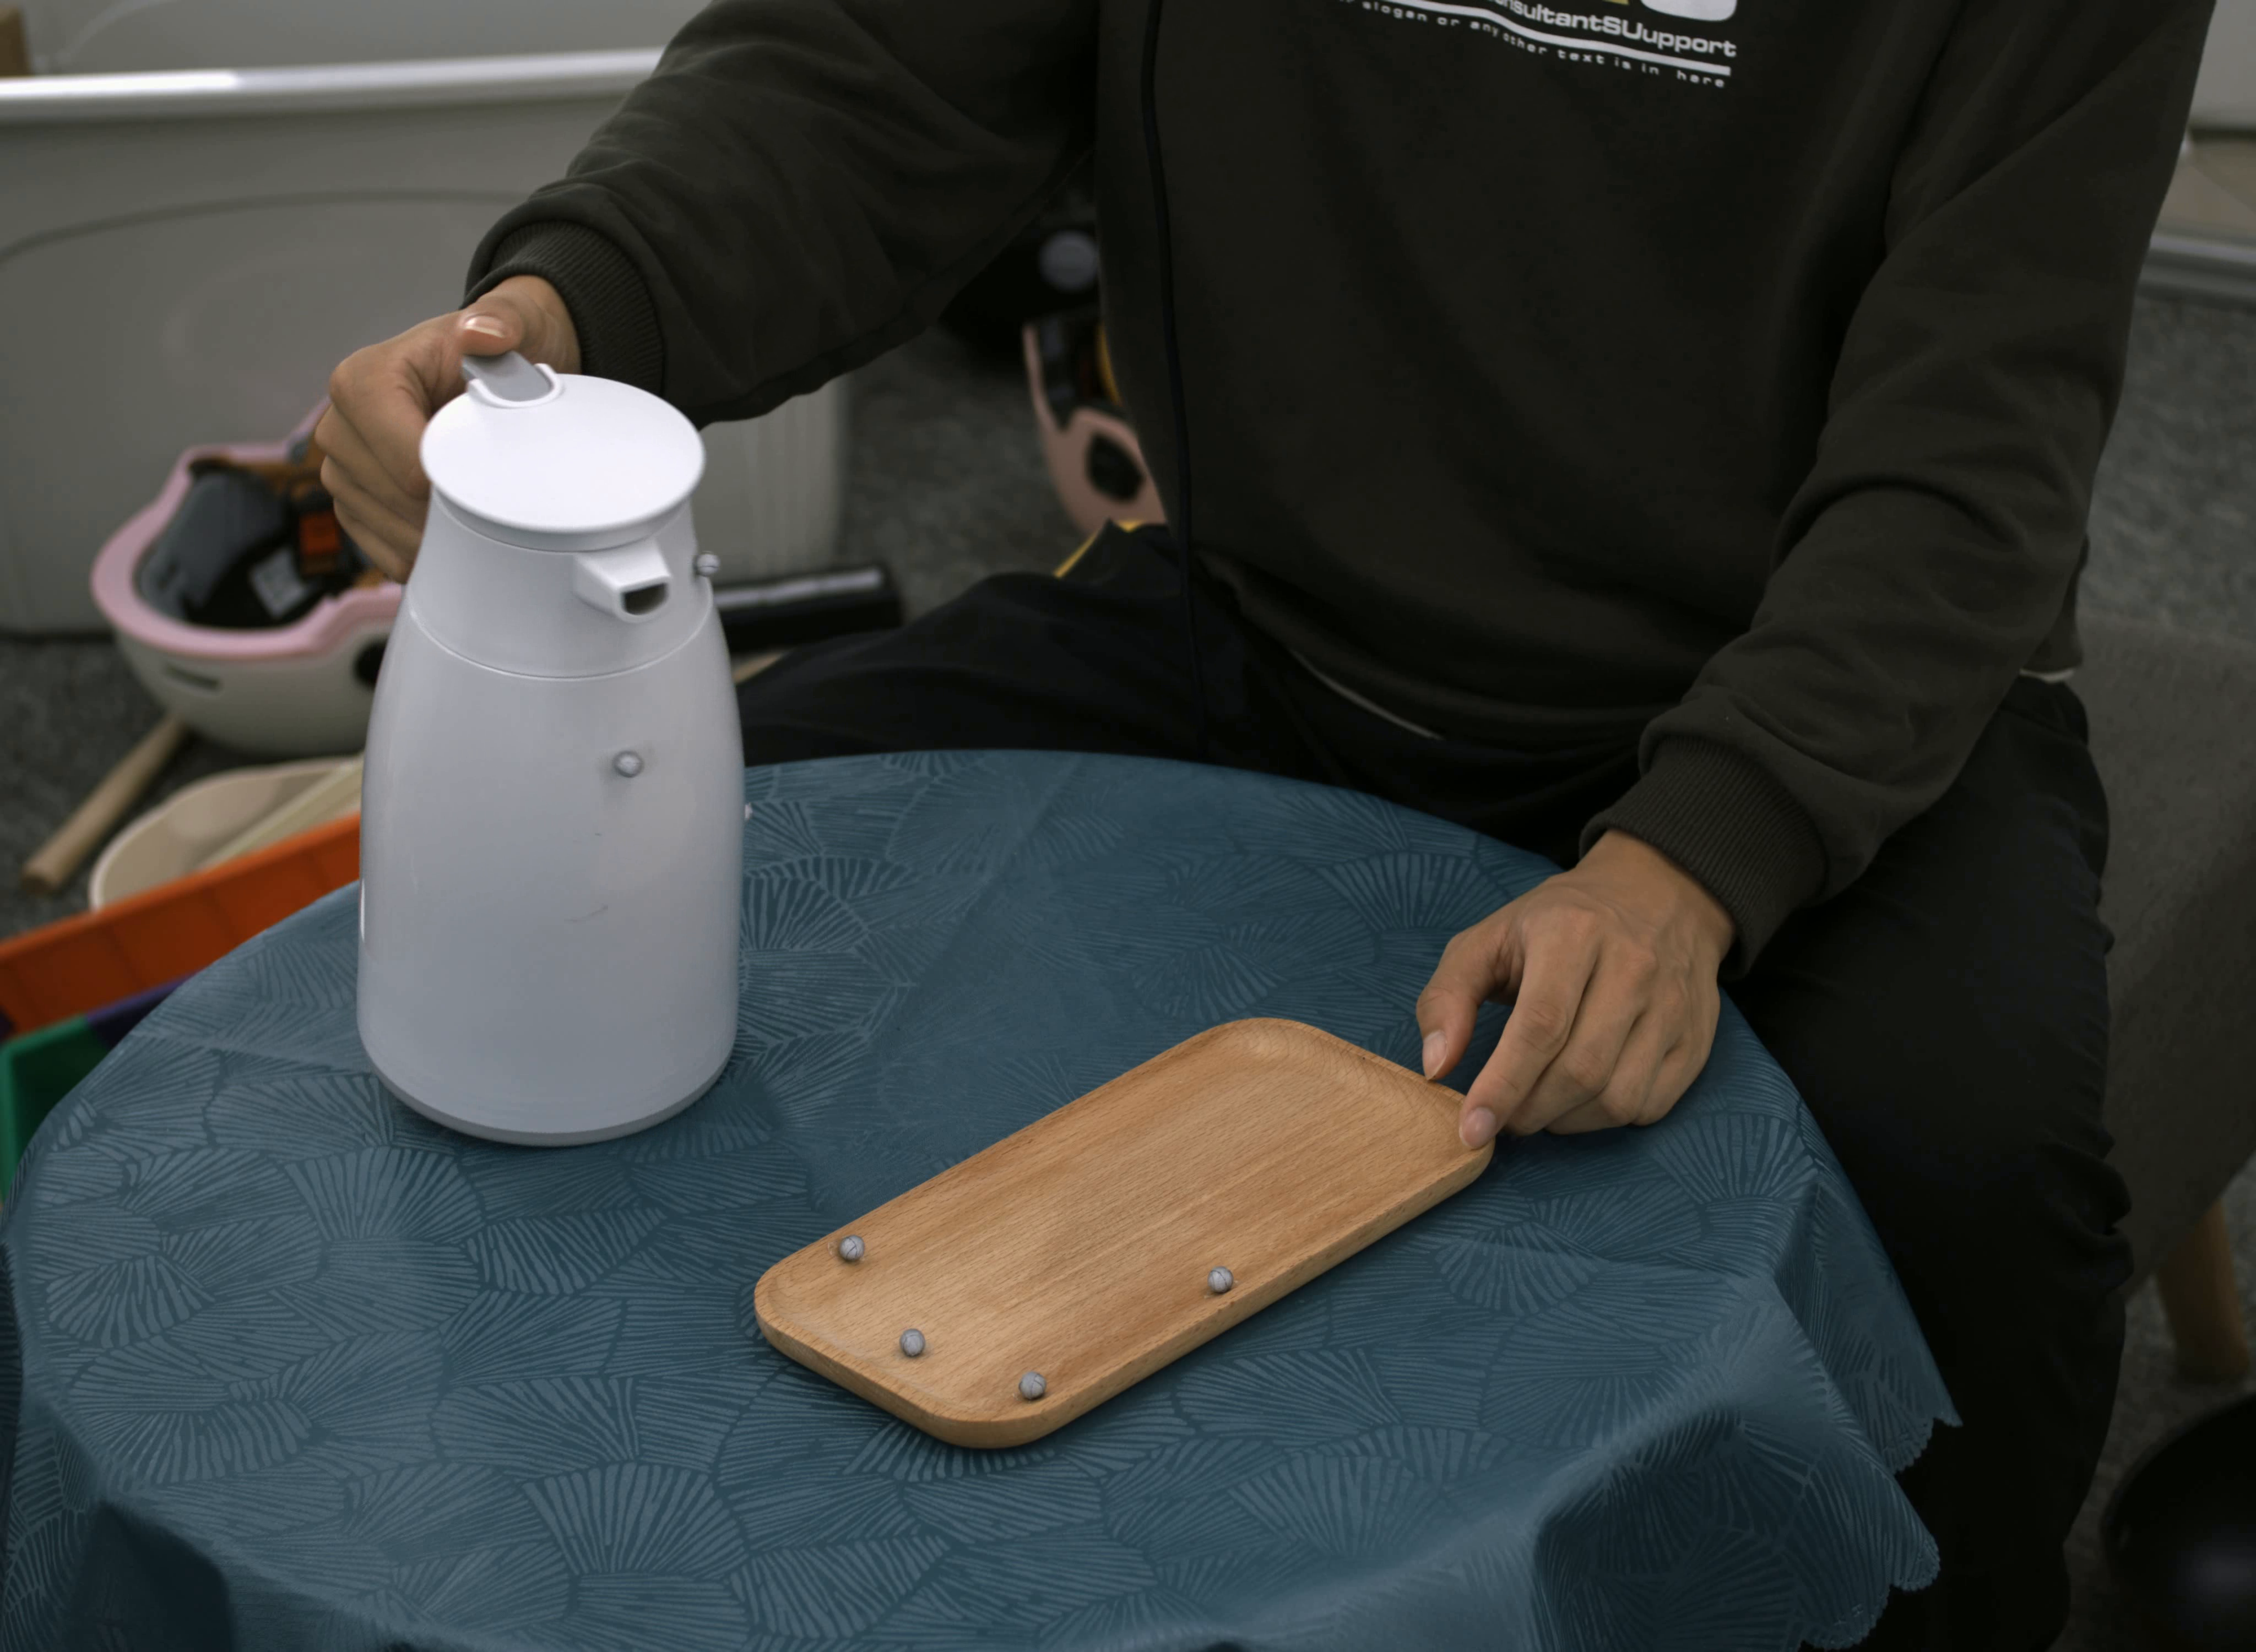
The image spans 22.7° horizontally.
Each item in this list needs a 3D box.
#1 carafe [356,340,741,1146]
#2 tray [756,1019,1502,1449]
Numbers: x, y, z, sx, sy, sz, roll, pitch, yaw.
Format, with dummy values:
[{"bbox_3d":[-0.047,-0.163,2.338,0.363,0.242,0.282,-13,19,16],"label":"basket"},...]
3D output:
[{"bbox_3d":[-0.204,-0.039,1.896,0.133,0.245,0.169,-17,40,-27],"label":"carafe"},{"bbox_3d":[0.003,0.131,1.830,0.253,0.022,0.130,-25,37,-38],"label":"tray"}]
